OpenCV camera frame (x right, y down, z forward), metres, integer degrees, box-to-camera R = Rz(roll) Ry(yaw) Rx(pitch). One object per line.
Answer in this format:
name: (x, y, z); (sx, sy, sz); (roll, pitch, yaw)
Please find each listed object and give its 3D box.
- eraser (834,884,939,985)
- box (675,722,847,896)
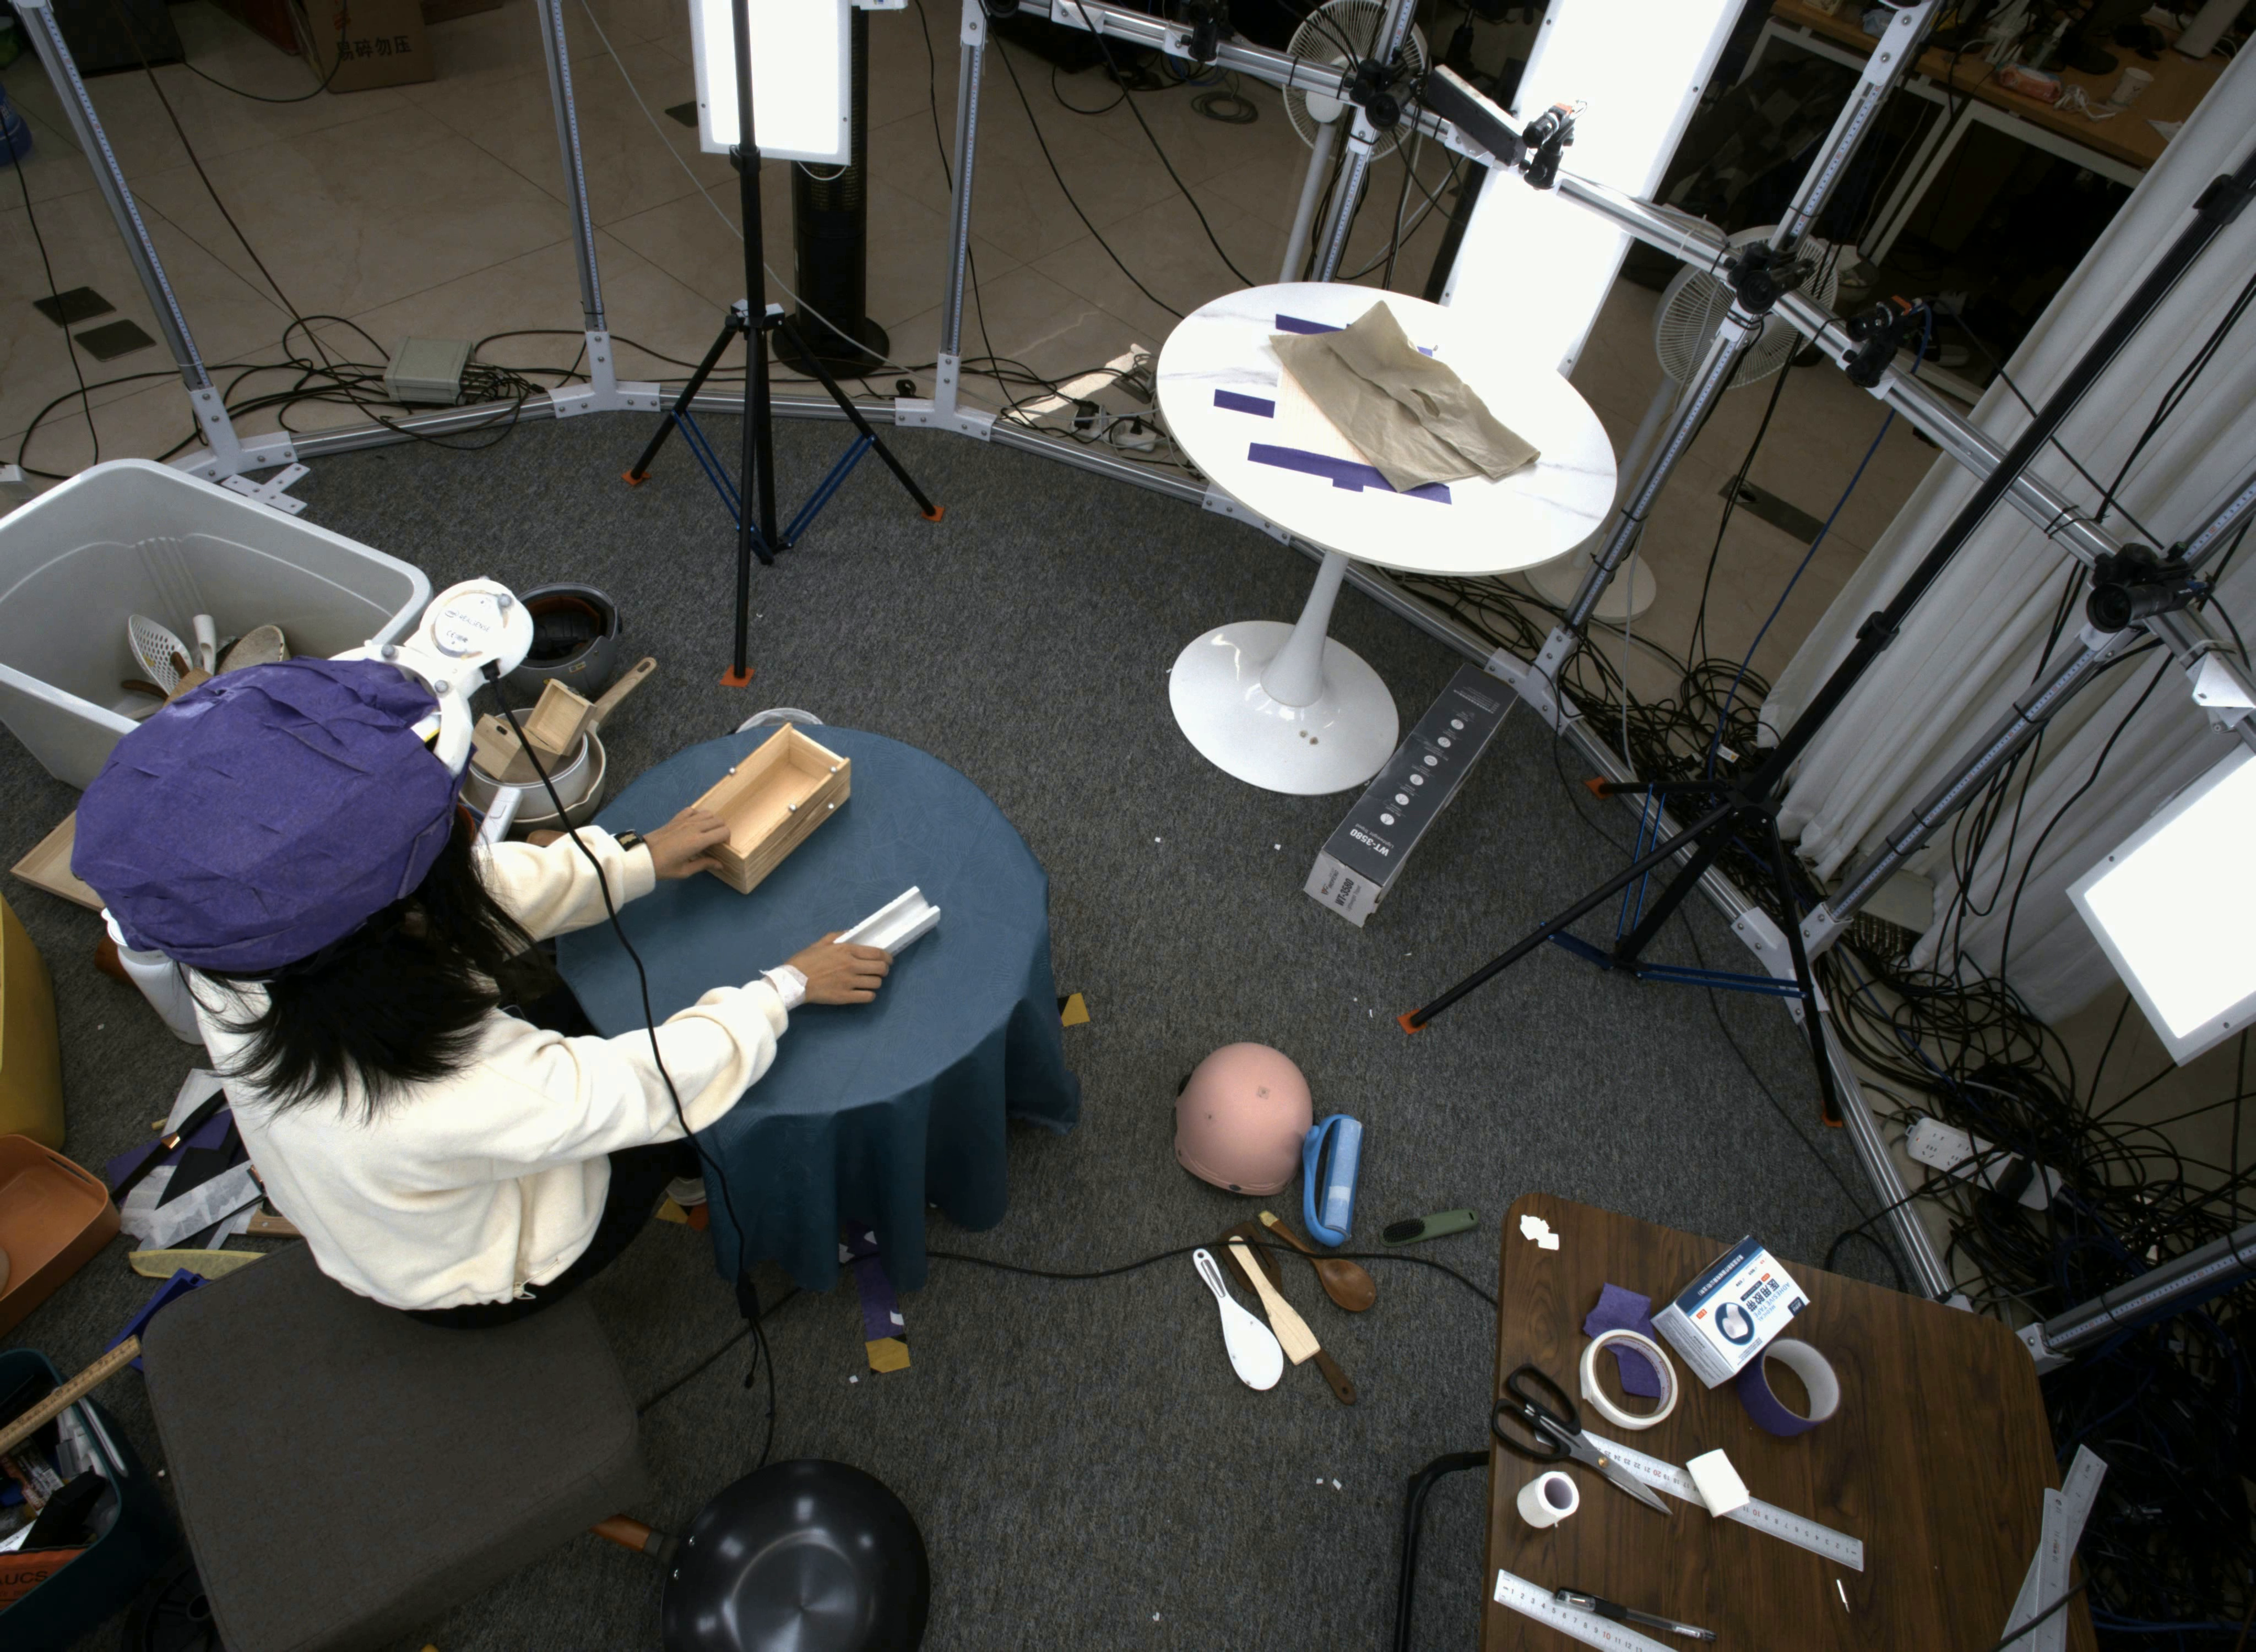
eraser: (-0.300, 0.134, 1.621); (0.049, 0.047, 0.134); (40, 53, 15)
box: (-0.470, -0.026, 1.672); (0.105, 0.082, 0.210); (29, 50, 11)
